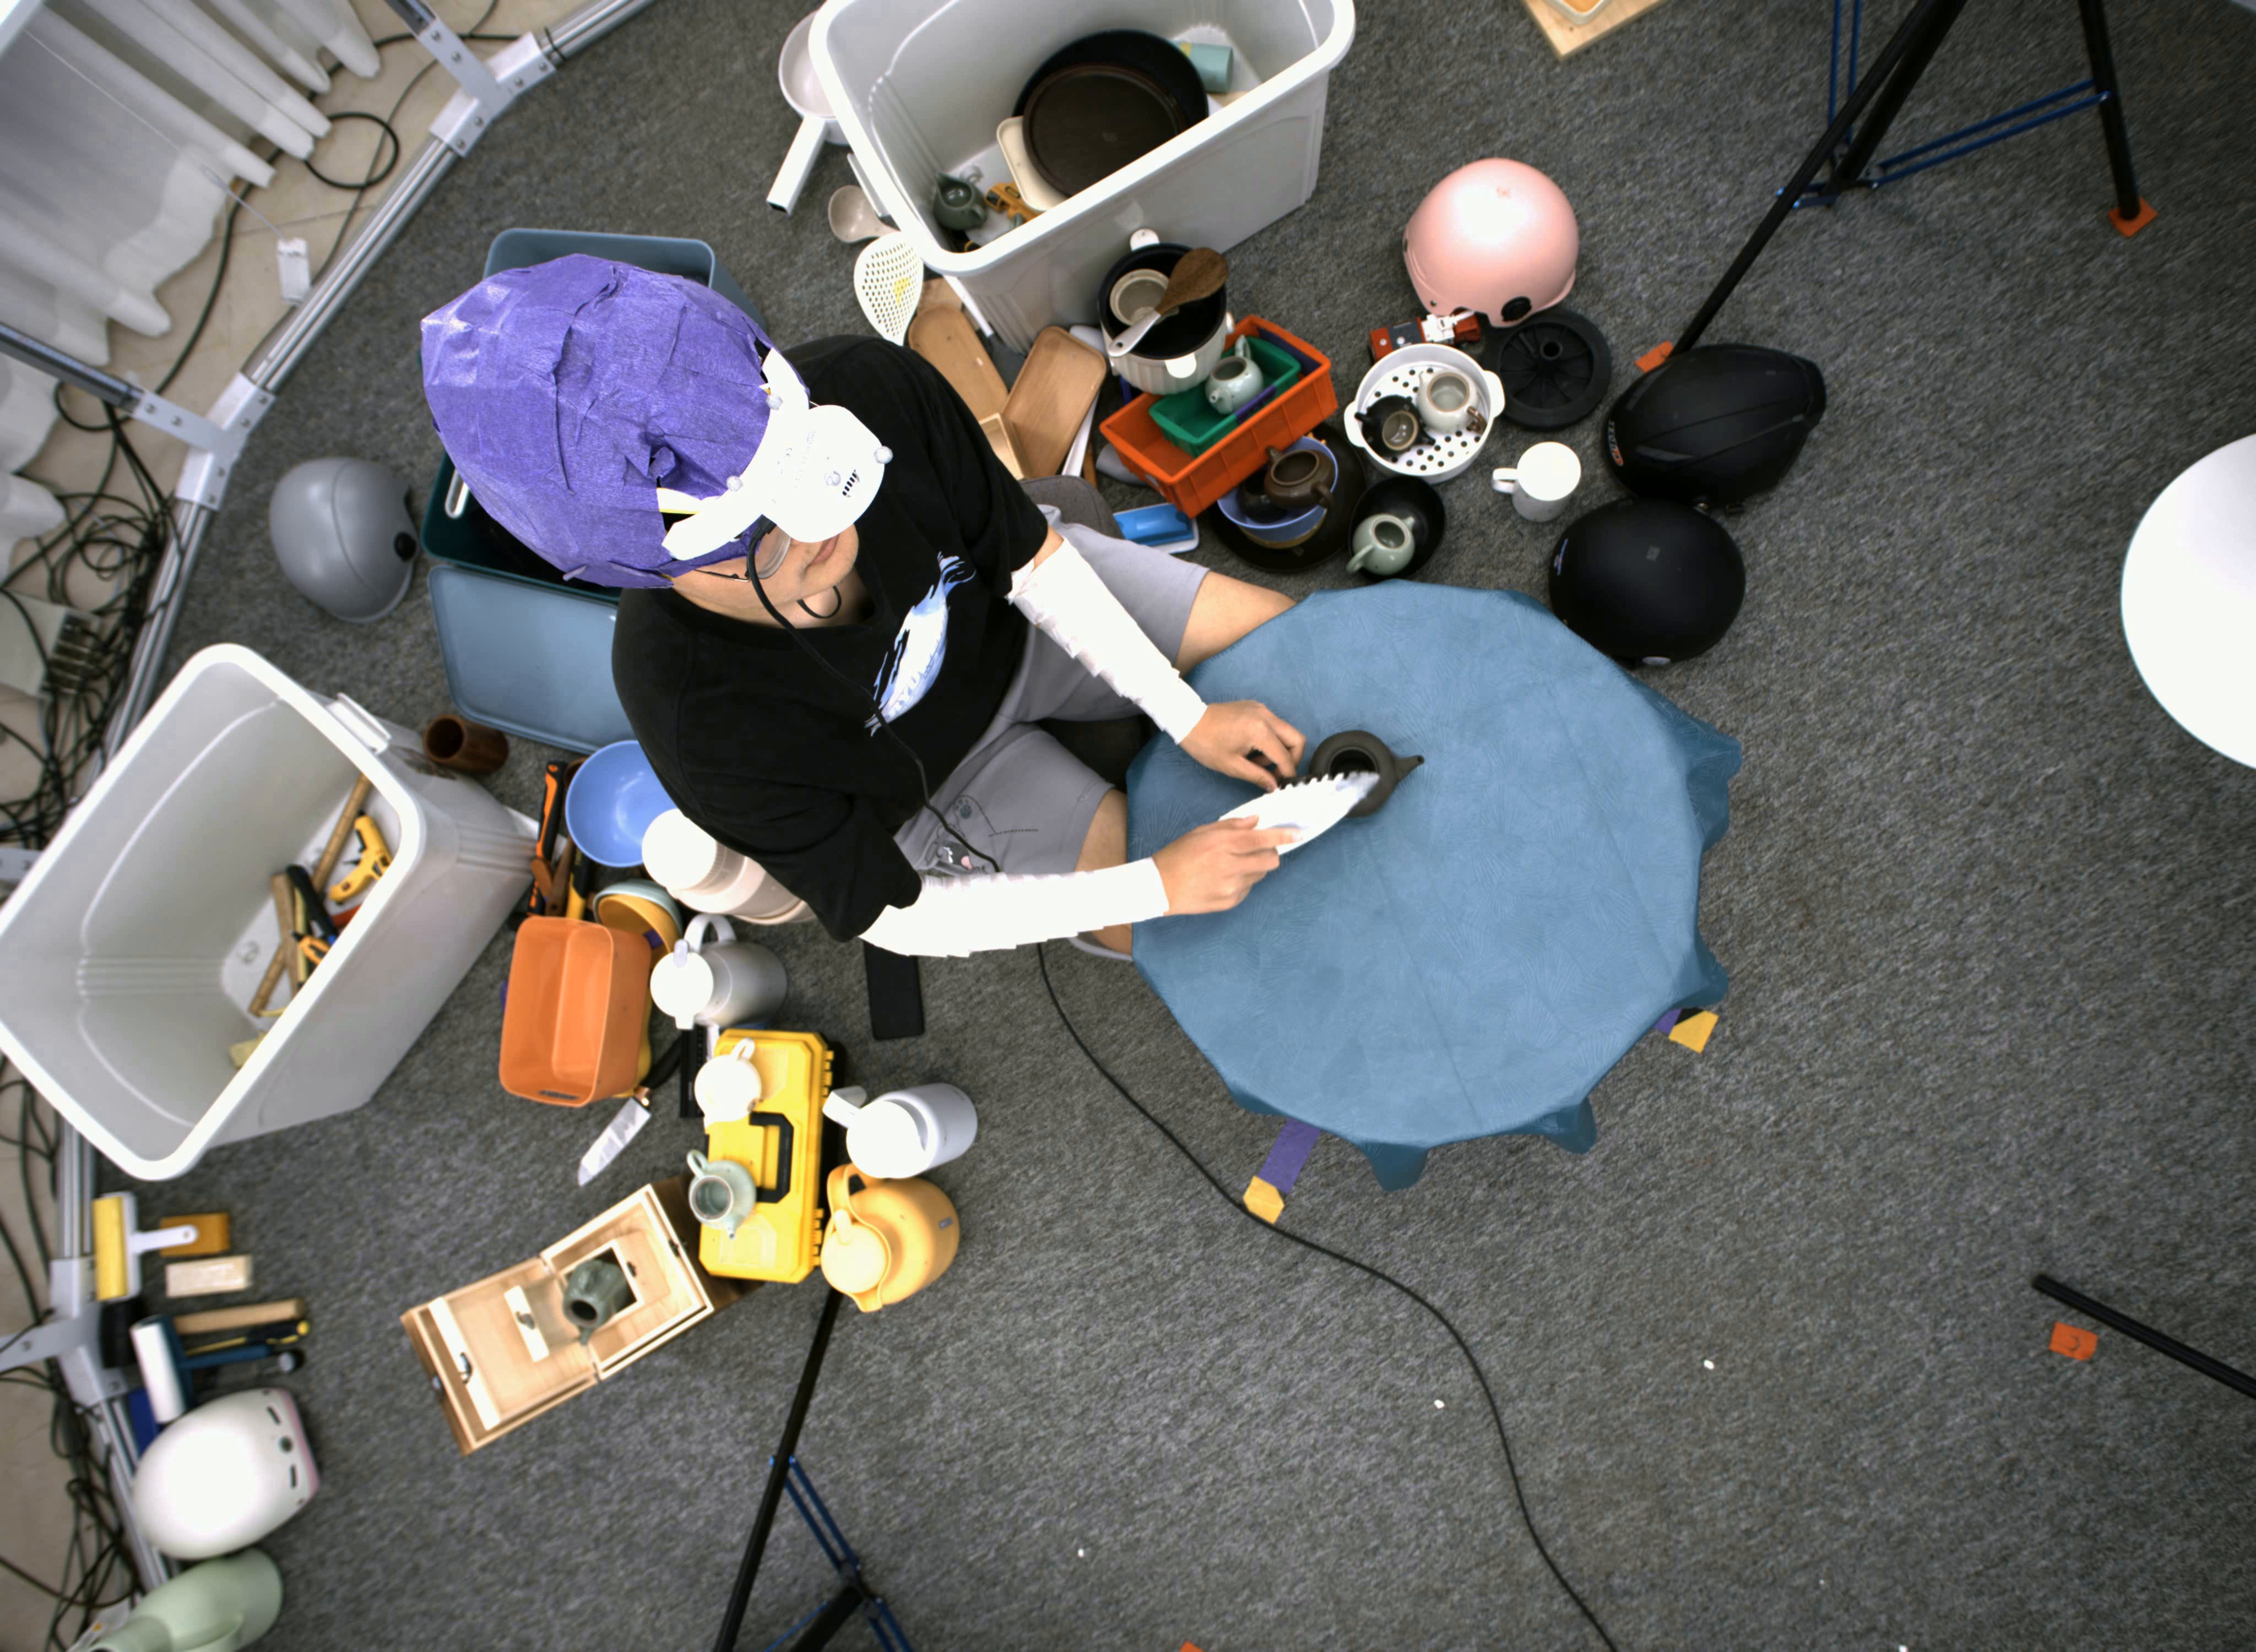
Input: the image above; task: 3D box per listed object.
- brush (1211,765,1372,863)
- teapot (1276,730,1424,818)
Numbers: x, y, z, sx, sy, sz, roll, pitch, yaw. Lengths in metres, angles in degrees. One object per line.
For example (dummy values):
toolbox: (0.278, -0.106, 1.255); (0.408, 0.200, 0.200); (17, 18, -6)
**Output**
brush: (0.163, -0.012, 1.391); (0.178, 0.092, 0.062); (-25, 101, 24)
teapot: (0.231, -0.055, 1.440); (0.155, 0.064, 0.092); (-9, 84, 9)
